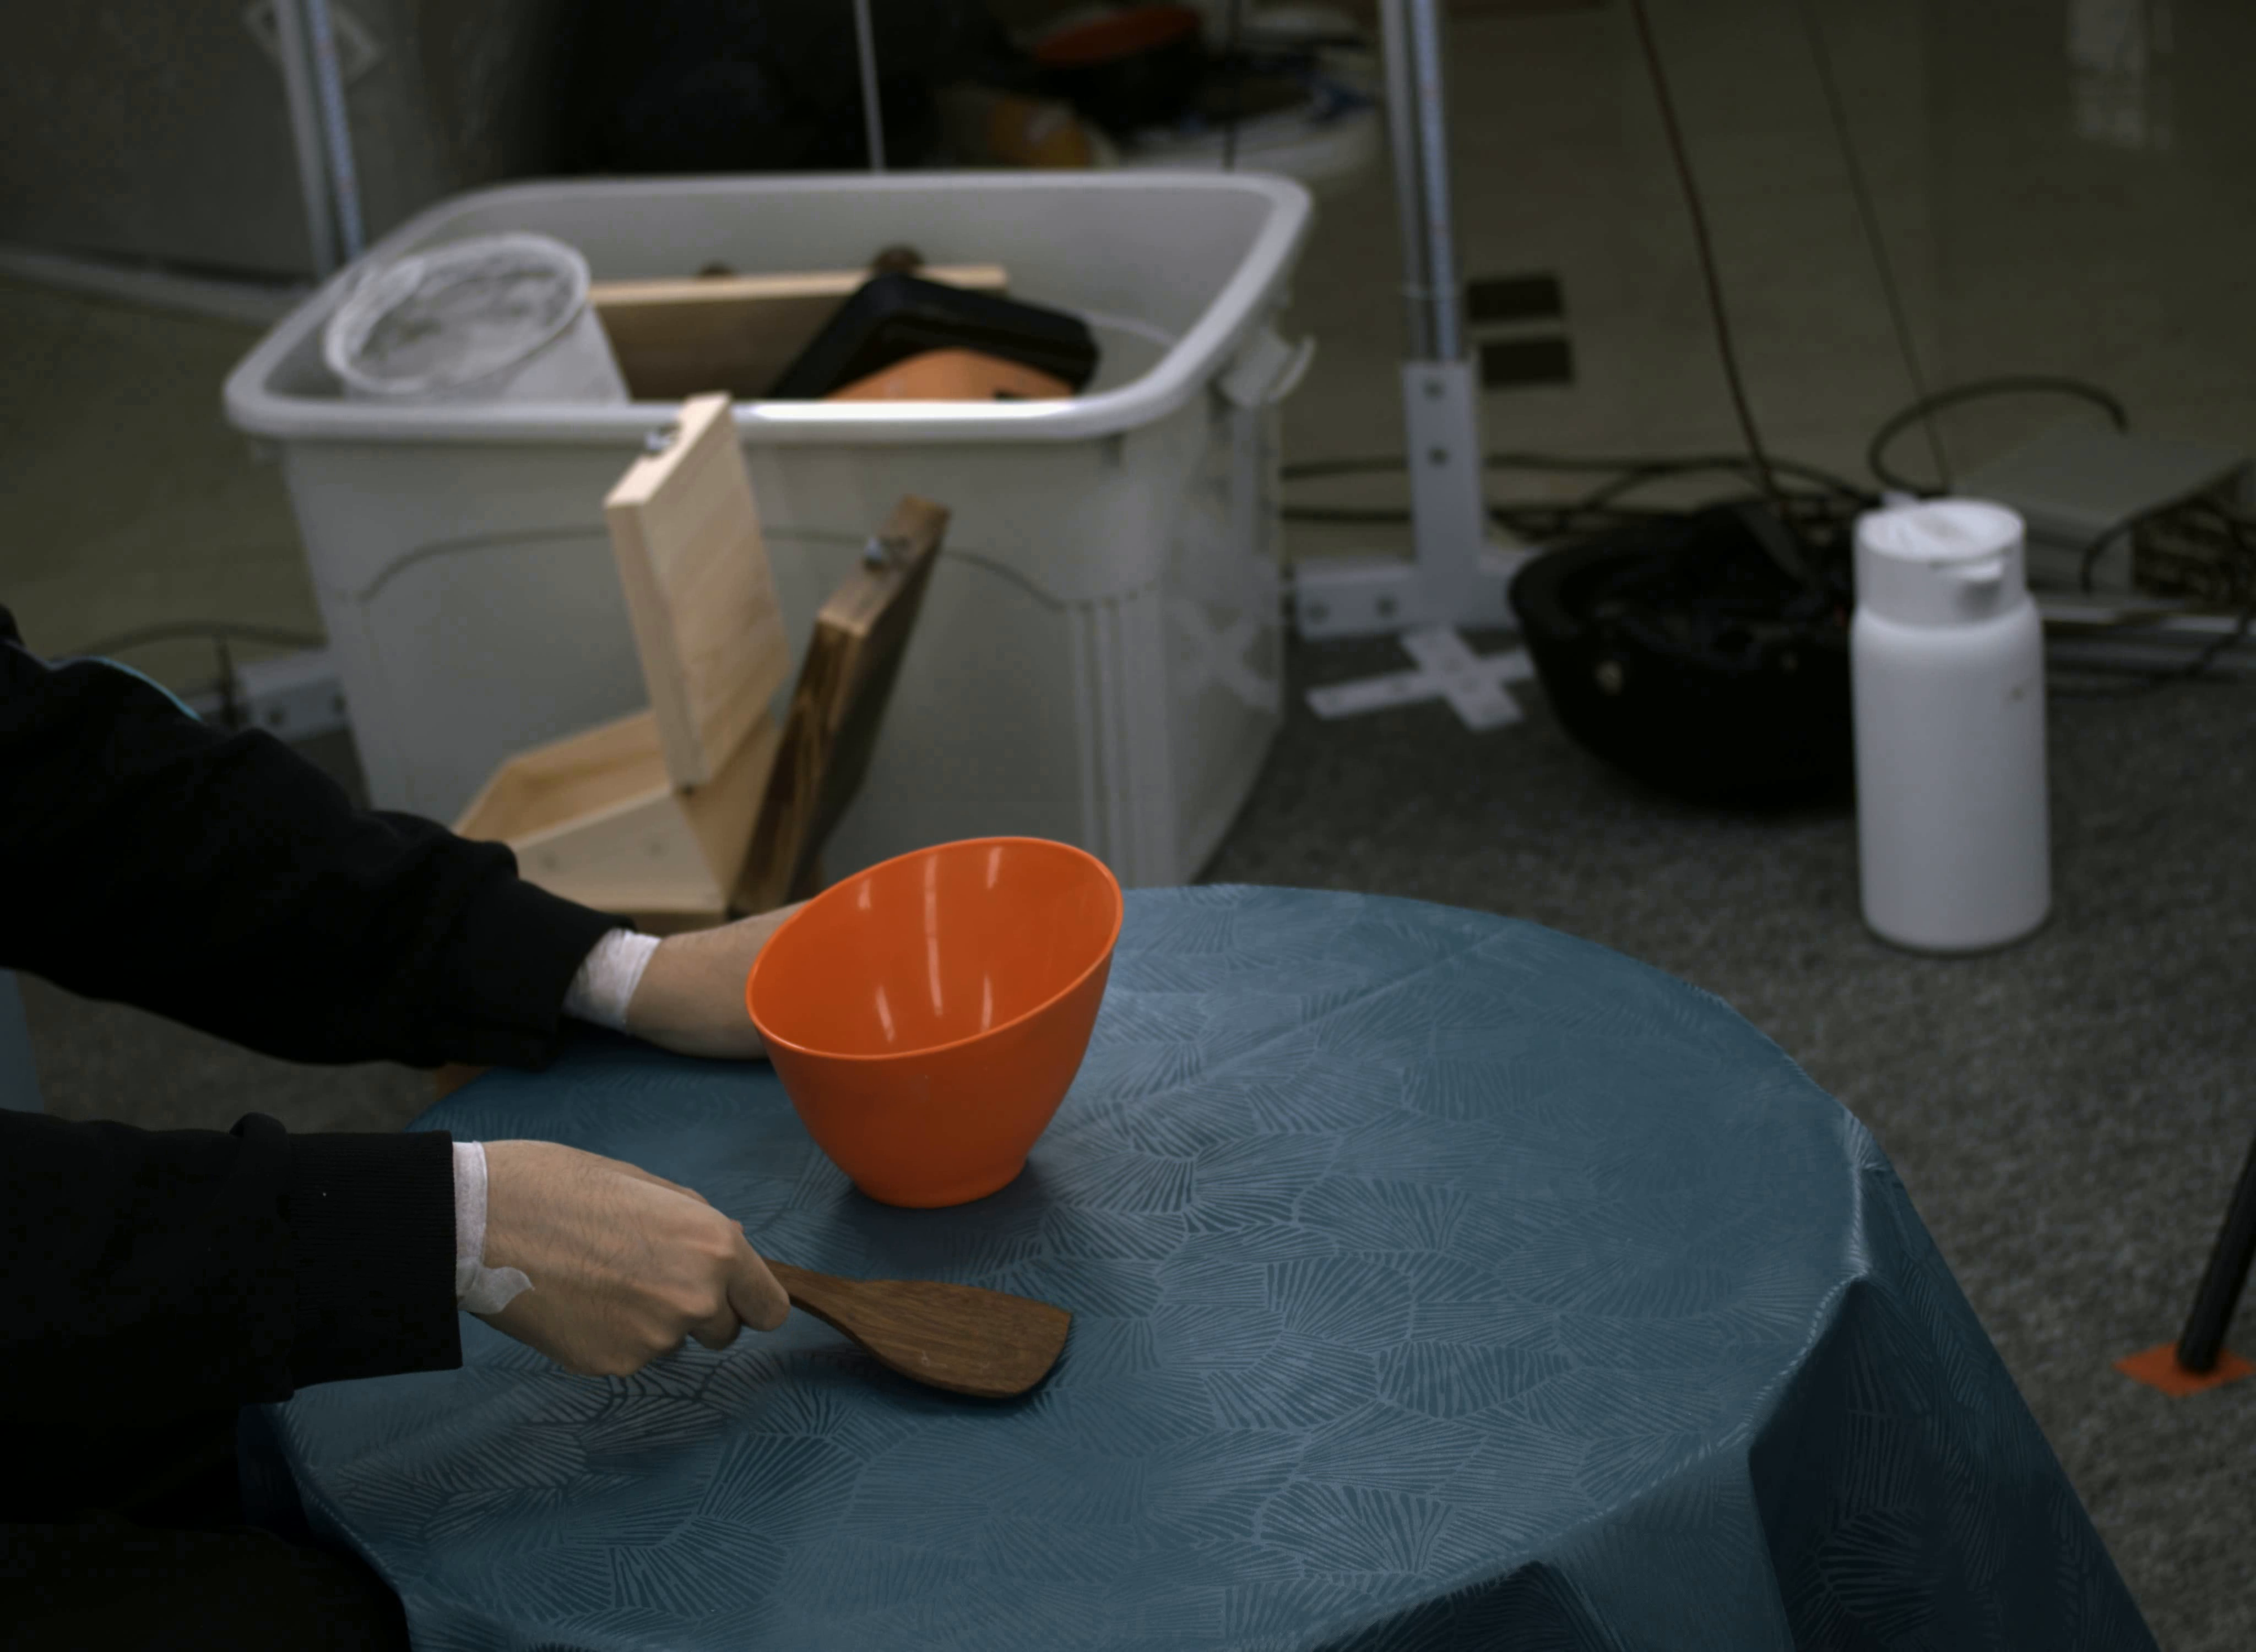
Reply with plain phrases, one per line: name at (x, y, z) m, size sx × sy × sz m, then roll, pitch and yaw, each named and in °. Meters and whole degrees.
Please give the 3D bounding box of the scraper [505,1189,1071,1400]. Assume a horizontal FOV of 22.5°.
scraper at (-0.125, 0.166, 2.058) m, size 0.210 × 0.011 × 0.075 m, roll 16°, pitch 25°, yaw 8°

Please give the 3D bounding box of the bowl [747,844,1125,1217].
bowl at (-0.068, 0.085, 2.168) m, size 0.148 × 0.106 × 0.146 m, roll -6°, pitch 26°, yaw 3°
